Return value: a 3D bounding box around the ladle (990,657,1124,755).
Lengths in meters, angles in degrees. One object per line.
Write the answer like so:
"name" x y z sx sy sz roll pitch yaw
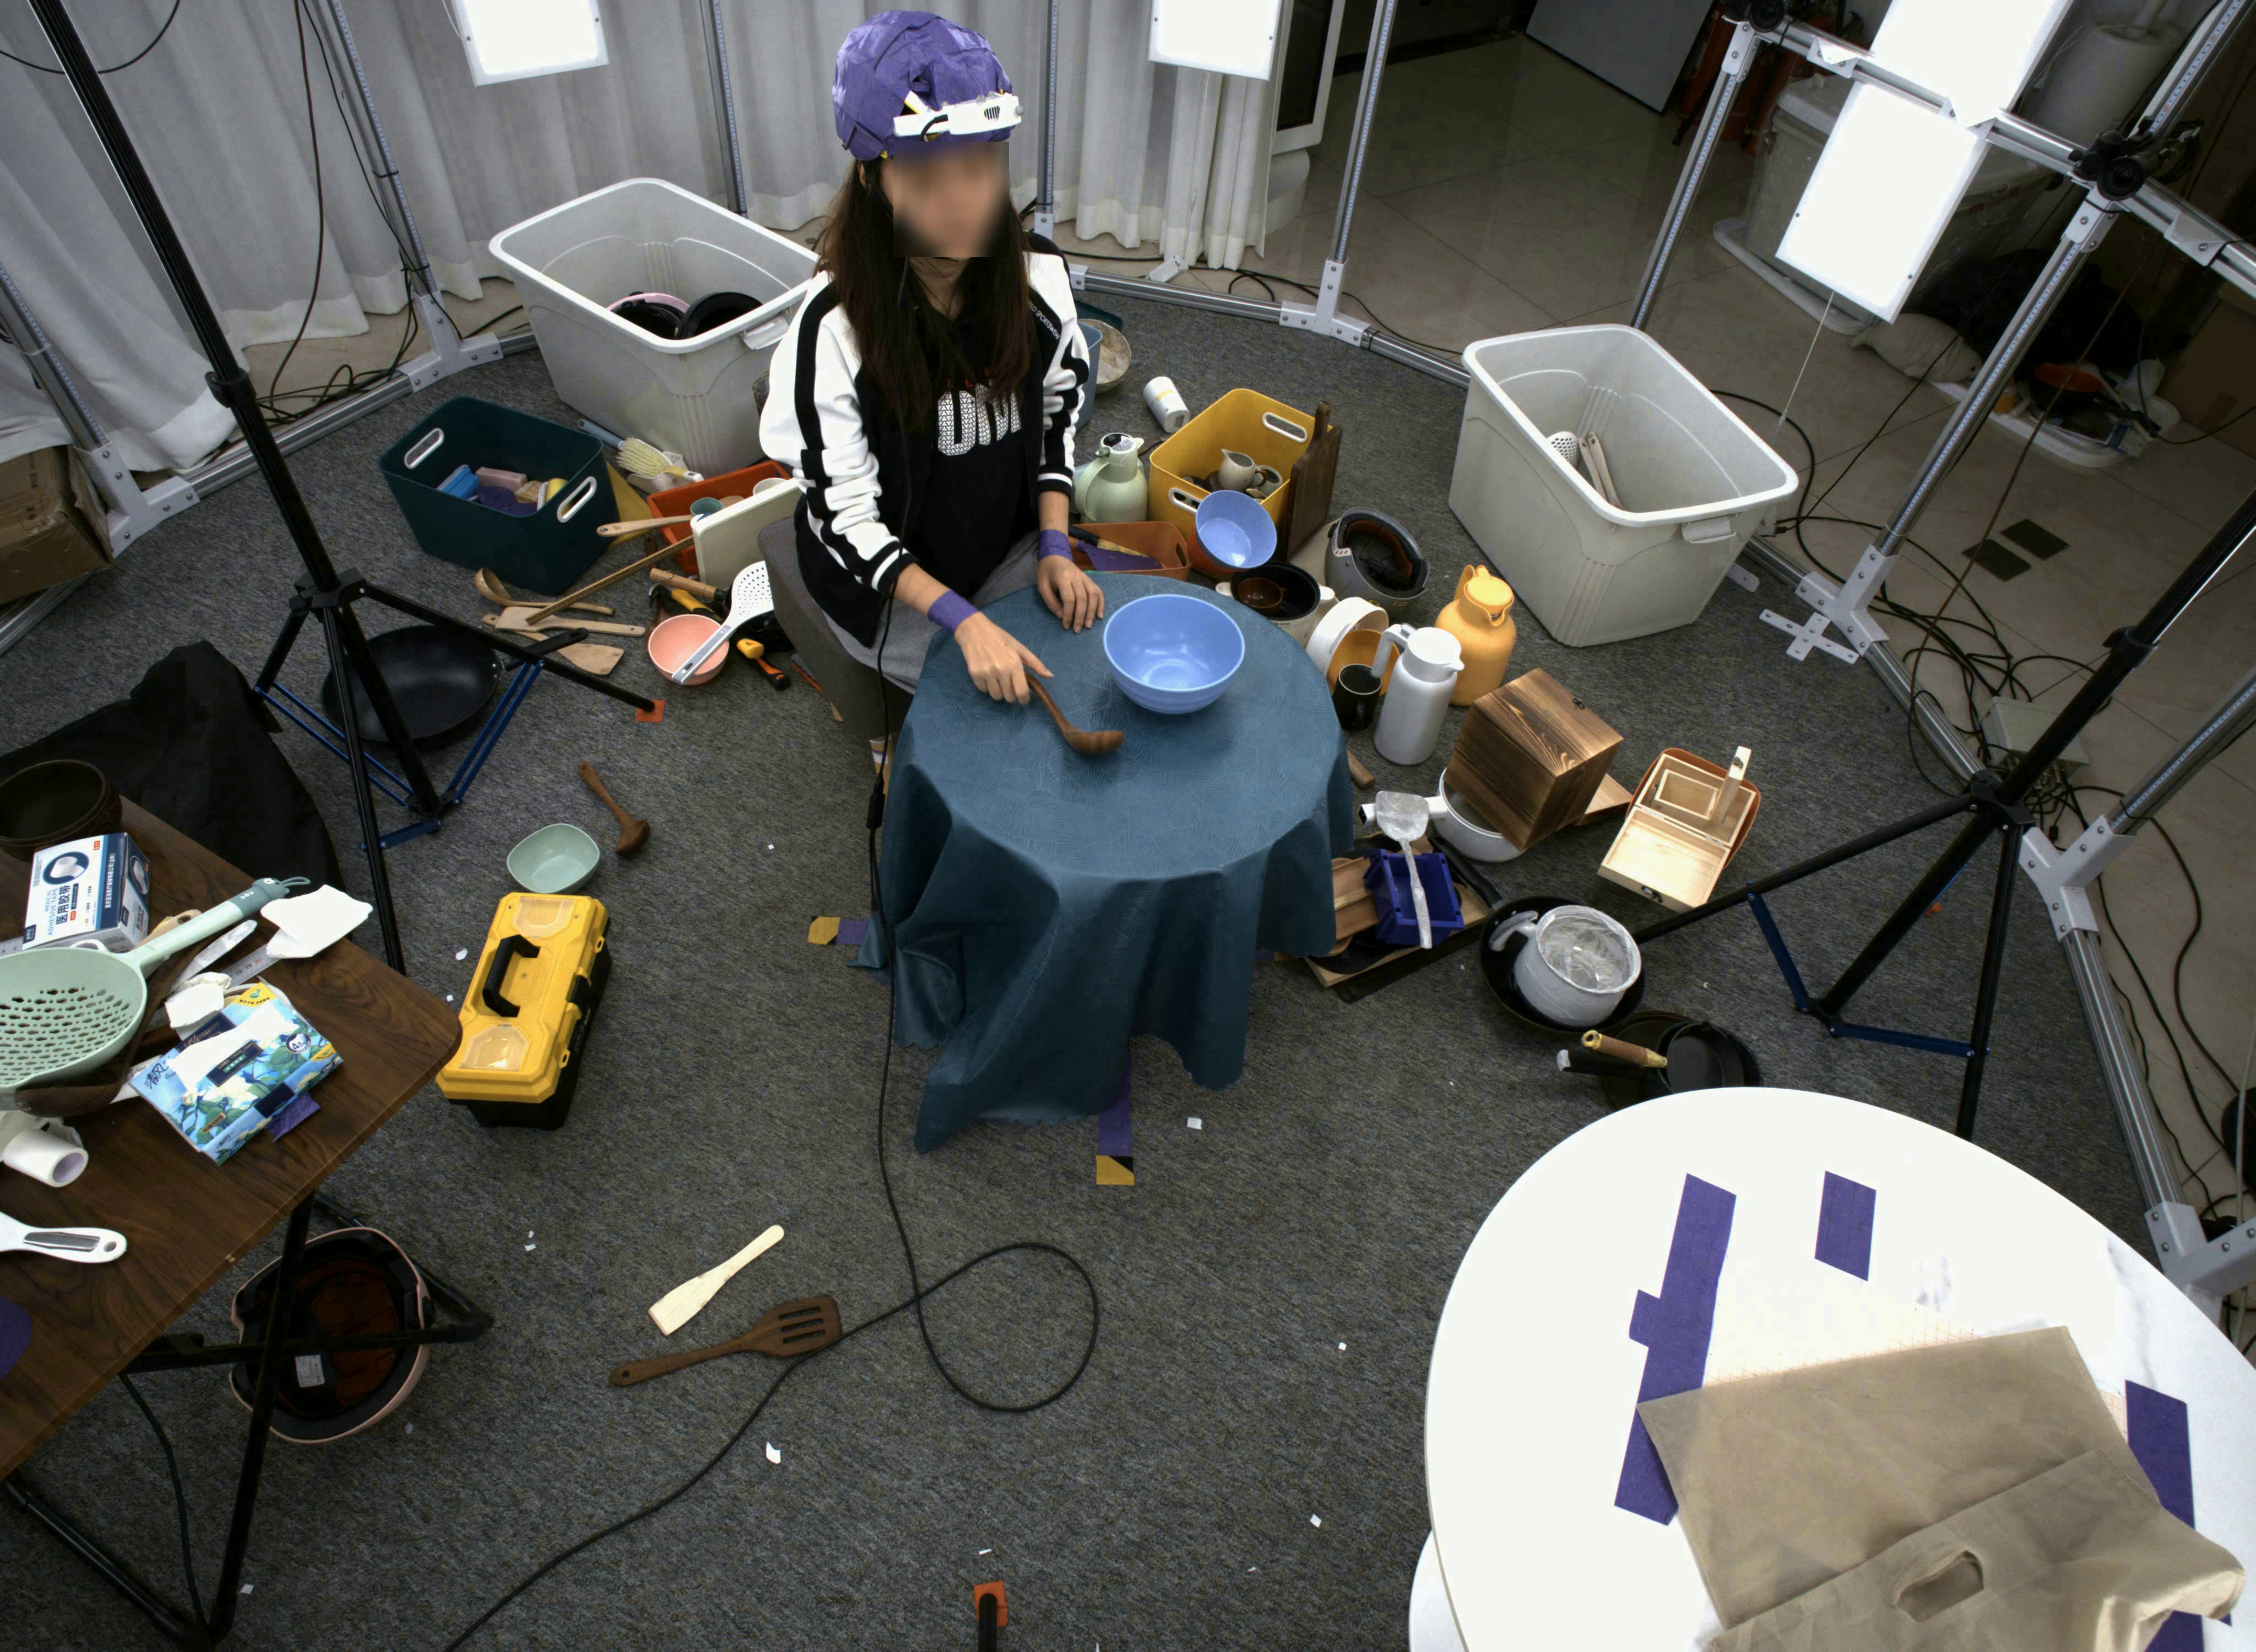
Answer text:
"ladle" -0.103 -0.178 1.779 0.076 0.064 0.265 1 38 -50

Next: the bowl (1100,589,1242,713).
"bowl" 0.059 -0.233 1.815 0.196 0.093 0.201 0 55 -1
